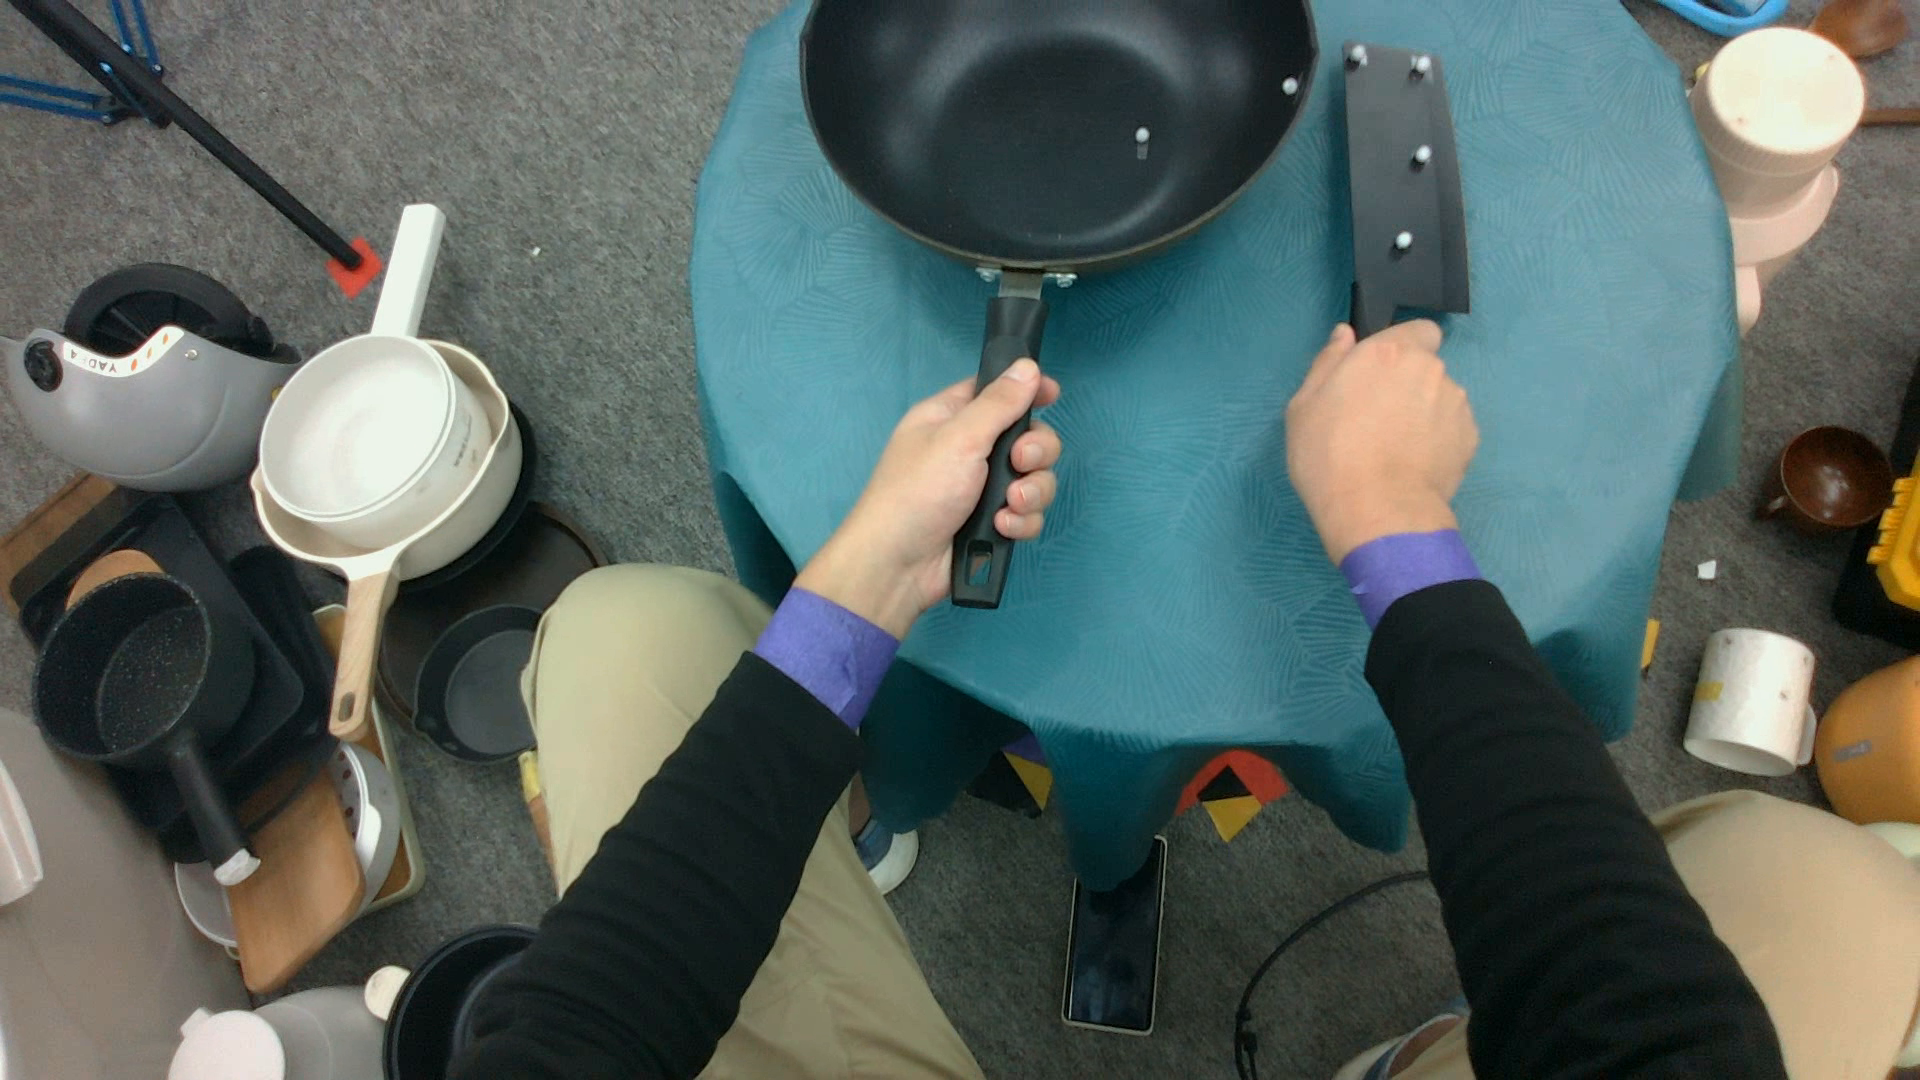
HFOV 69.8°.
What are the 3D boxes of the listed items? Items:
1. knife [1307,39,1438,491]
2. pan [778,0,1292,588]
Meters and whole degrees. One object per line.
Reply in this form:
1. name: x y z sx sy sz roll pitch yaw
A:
1. knife: 0.229 -0.164 0.769 0.081 0.021 0.303 9 65 -2
2. pan: 0.030 -0.183 0.769 0.288 0.086 0.465 6 70 7
